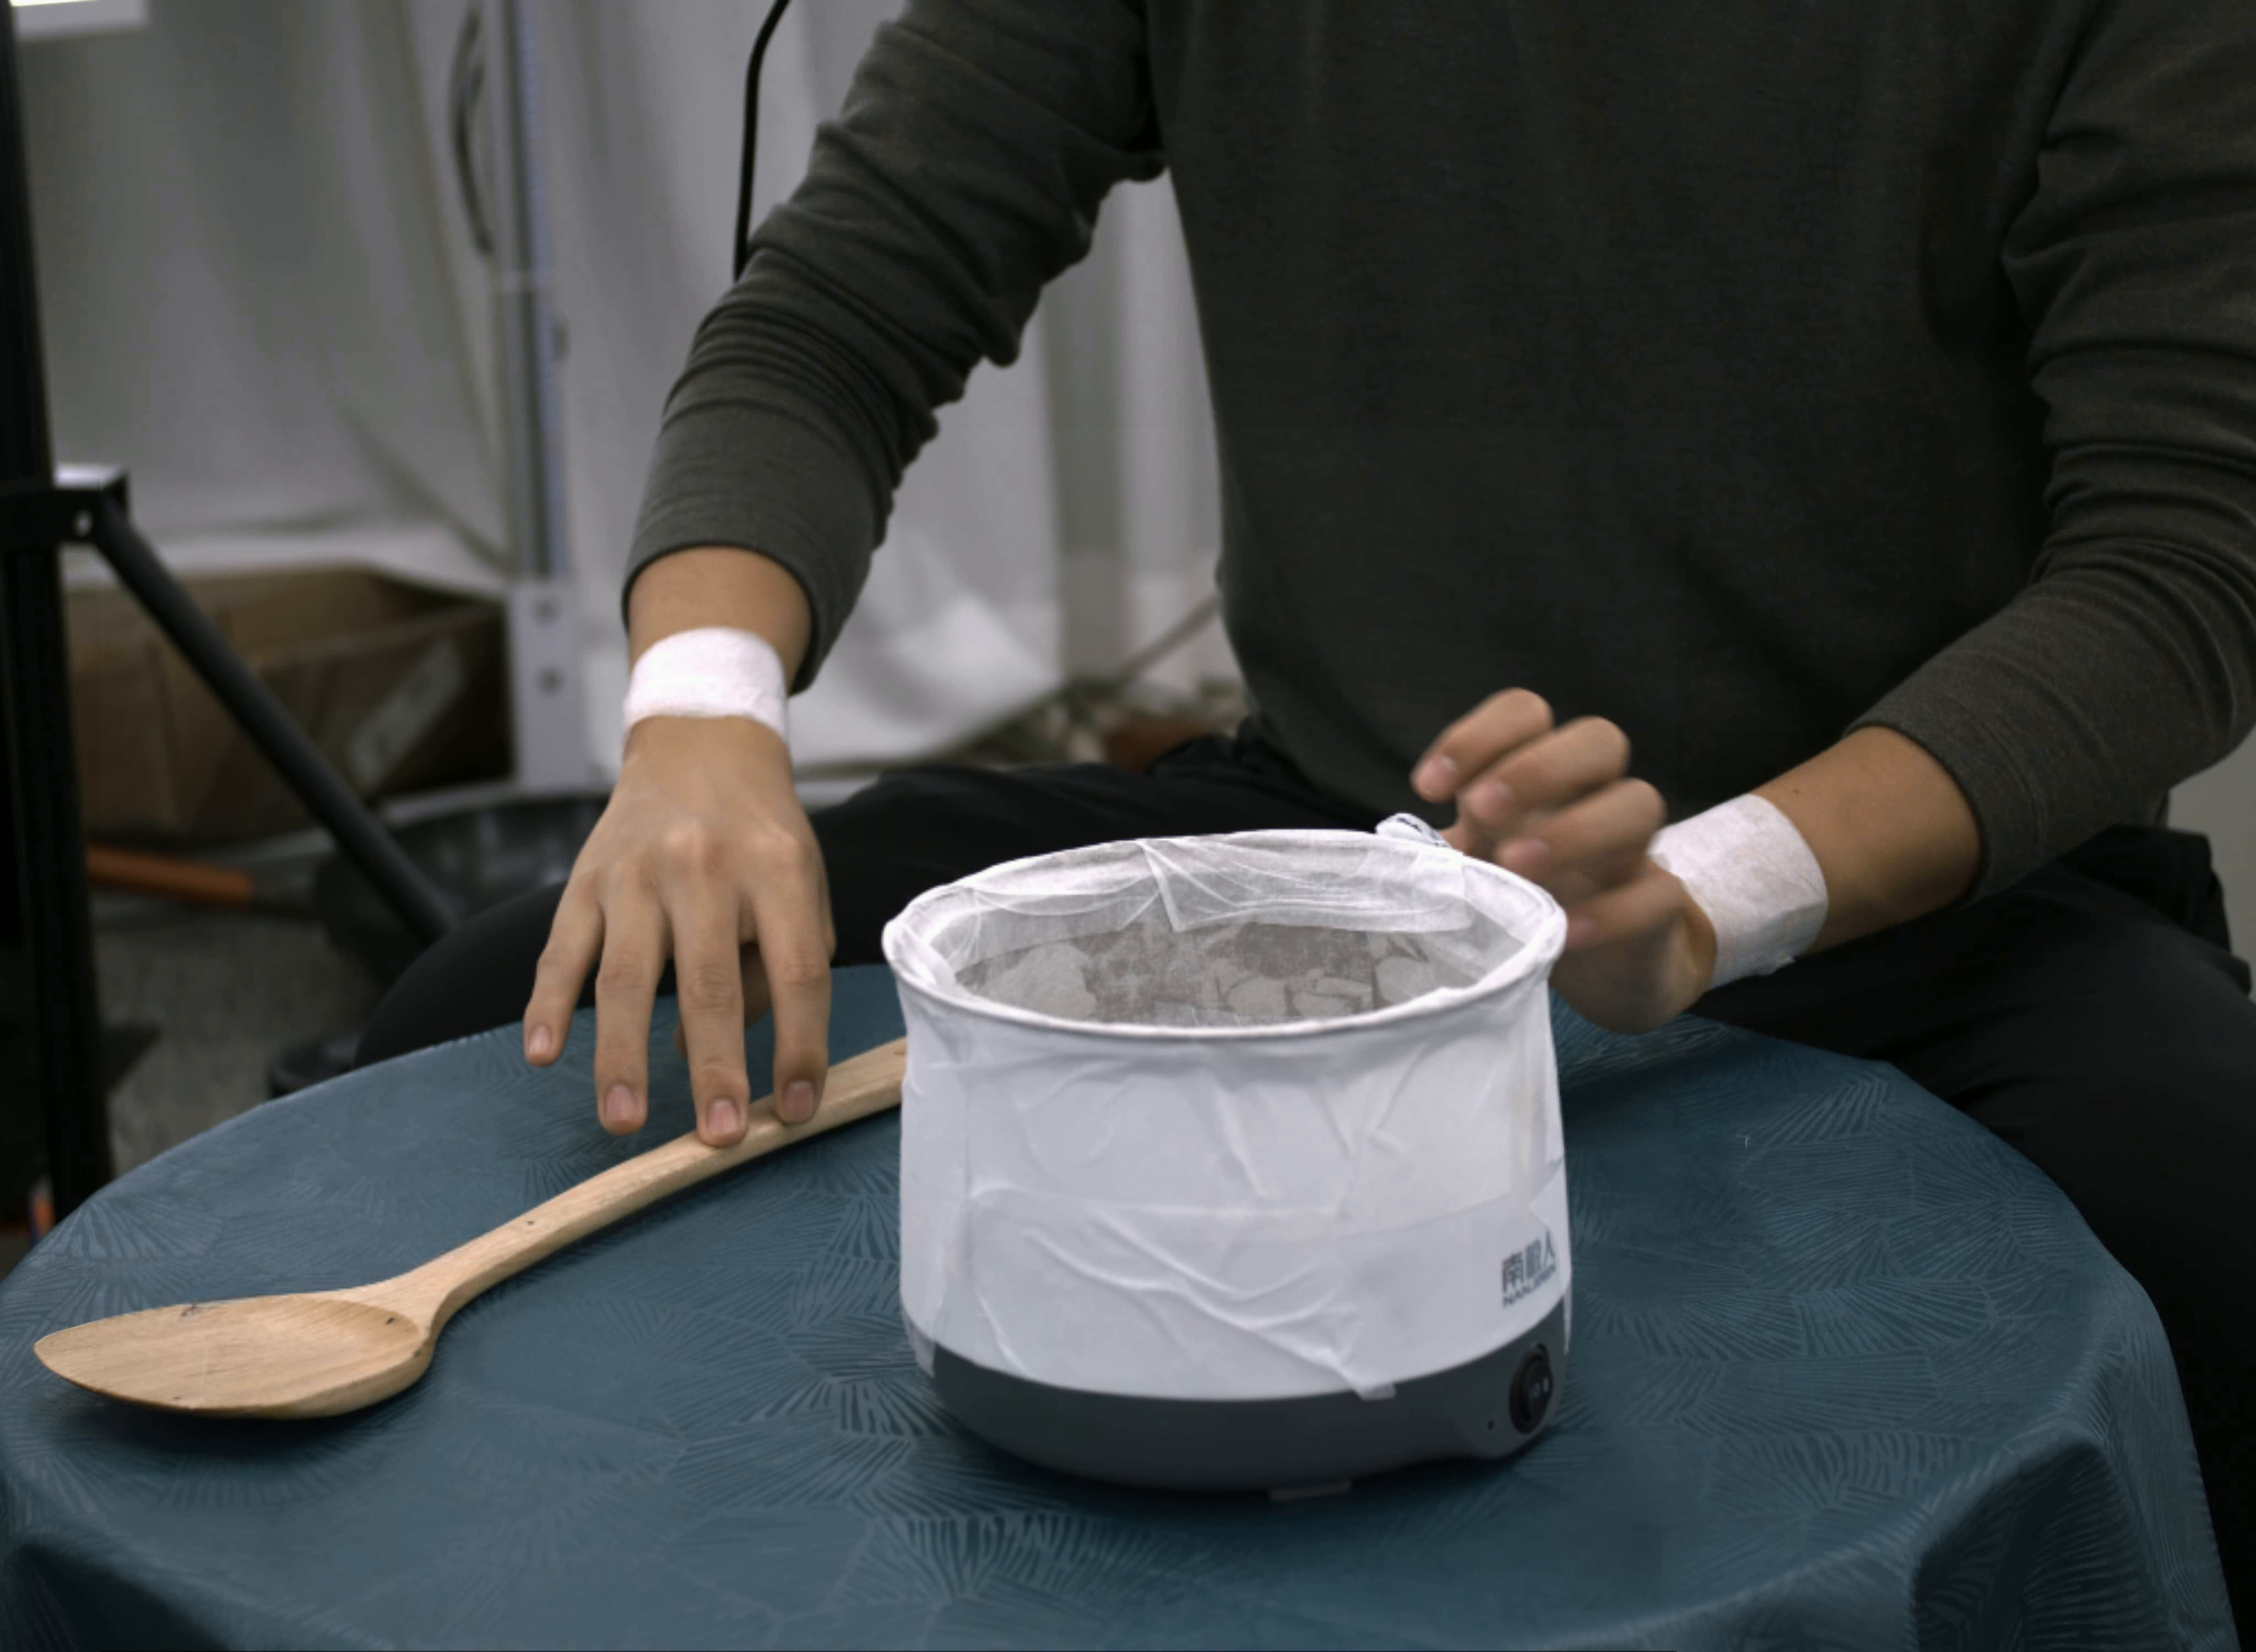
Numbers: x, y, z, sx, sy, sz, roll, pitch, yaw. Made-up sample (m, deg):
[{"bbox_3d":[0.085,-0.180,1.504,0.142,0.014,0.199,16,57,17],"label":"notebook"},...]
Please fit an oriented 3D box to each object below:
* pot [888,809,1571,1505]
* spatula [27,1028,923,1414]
[{"bbox_3d":[0.041,0.079,1.404,0.182,0.136,0.229,8,18,30],"label":"pot"},{"bbox_3d":[-0.157,0.108,1.556,0.098,0.018,0.383,11,21,34],"label":"spatula"}]
